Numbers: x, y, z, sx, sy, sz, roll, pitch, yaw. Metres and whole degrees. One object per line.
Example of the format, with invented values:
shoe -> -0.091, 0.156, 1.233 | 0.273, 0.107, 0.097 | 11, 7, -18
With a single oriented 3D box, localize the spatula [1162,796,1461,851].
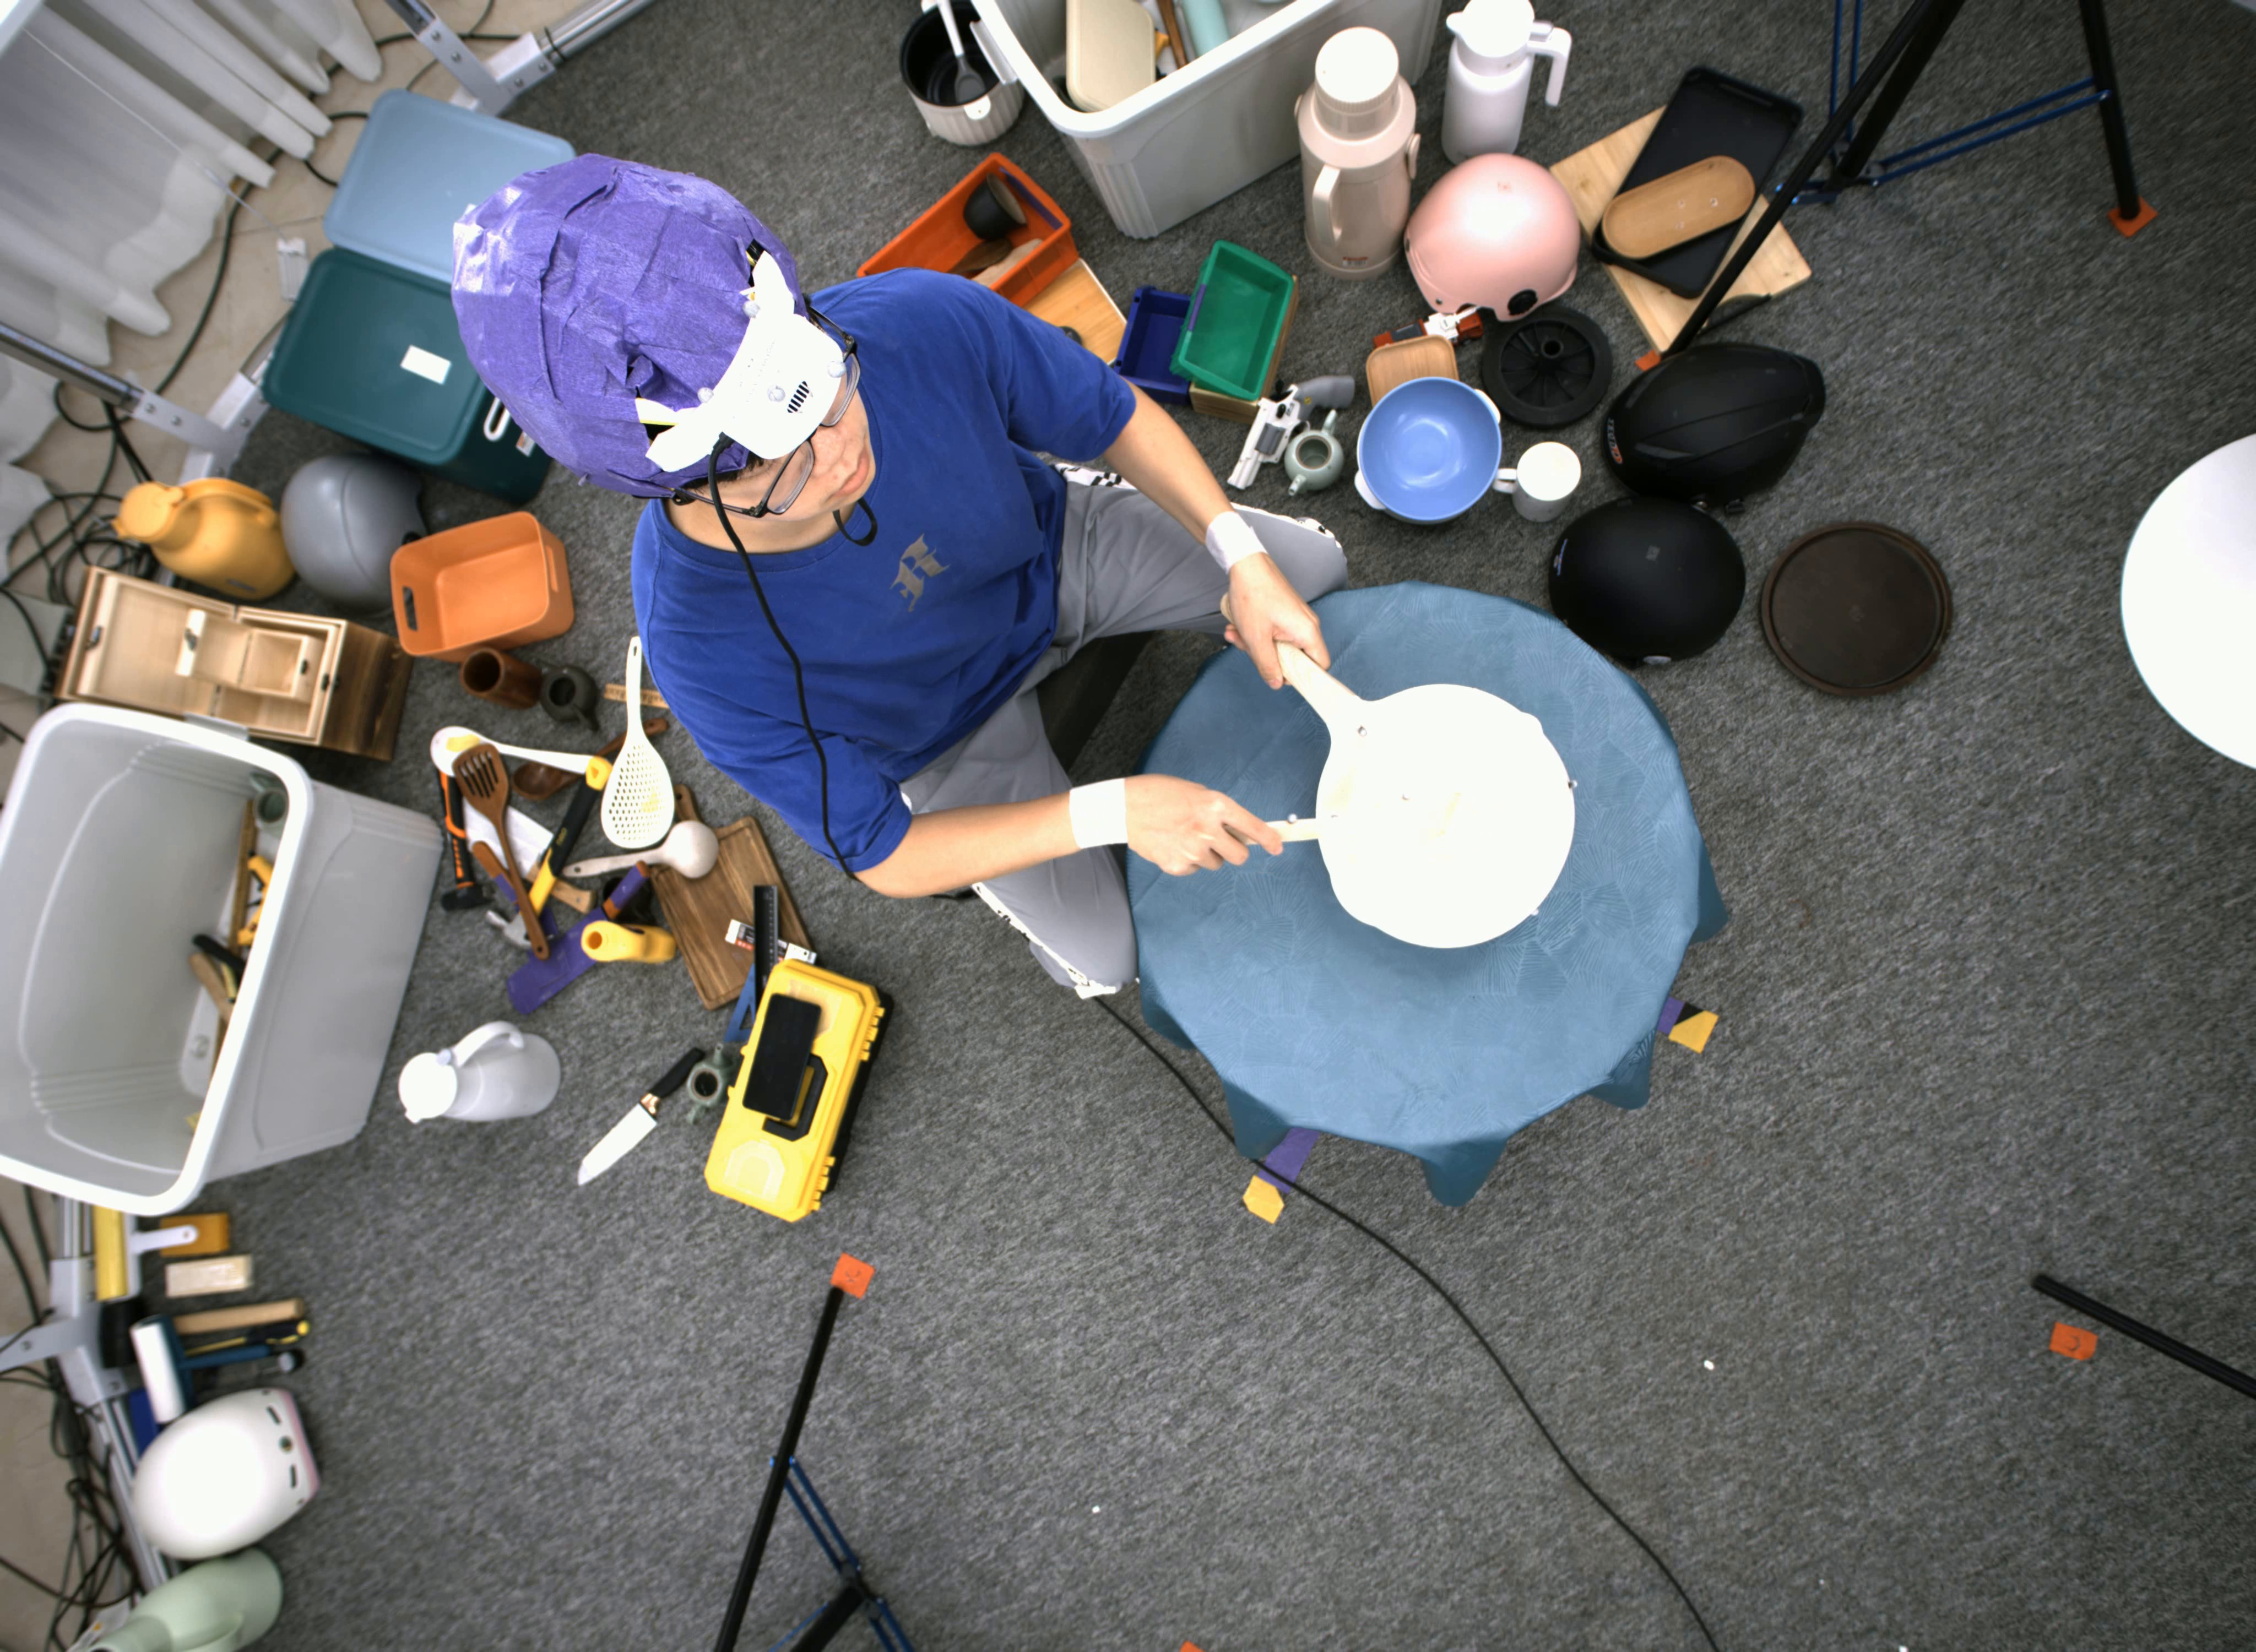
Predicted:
spatula -> 0.176, 0.003, 1.321 | 0.292, 0.074, 0.010 | -4, 54, -10

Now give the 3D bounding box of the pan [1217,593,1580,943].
pan -> 0.257, -0.082, 1.361 | 0.431, 0.101, 0.269 | 49, 119, 17
